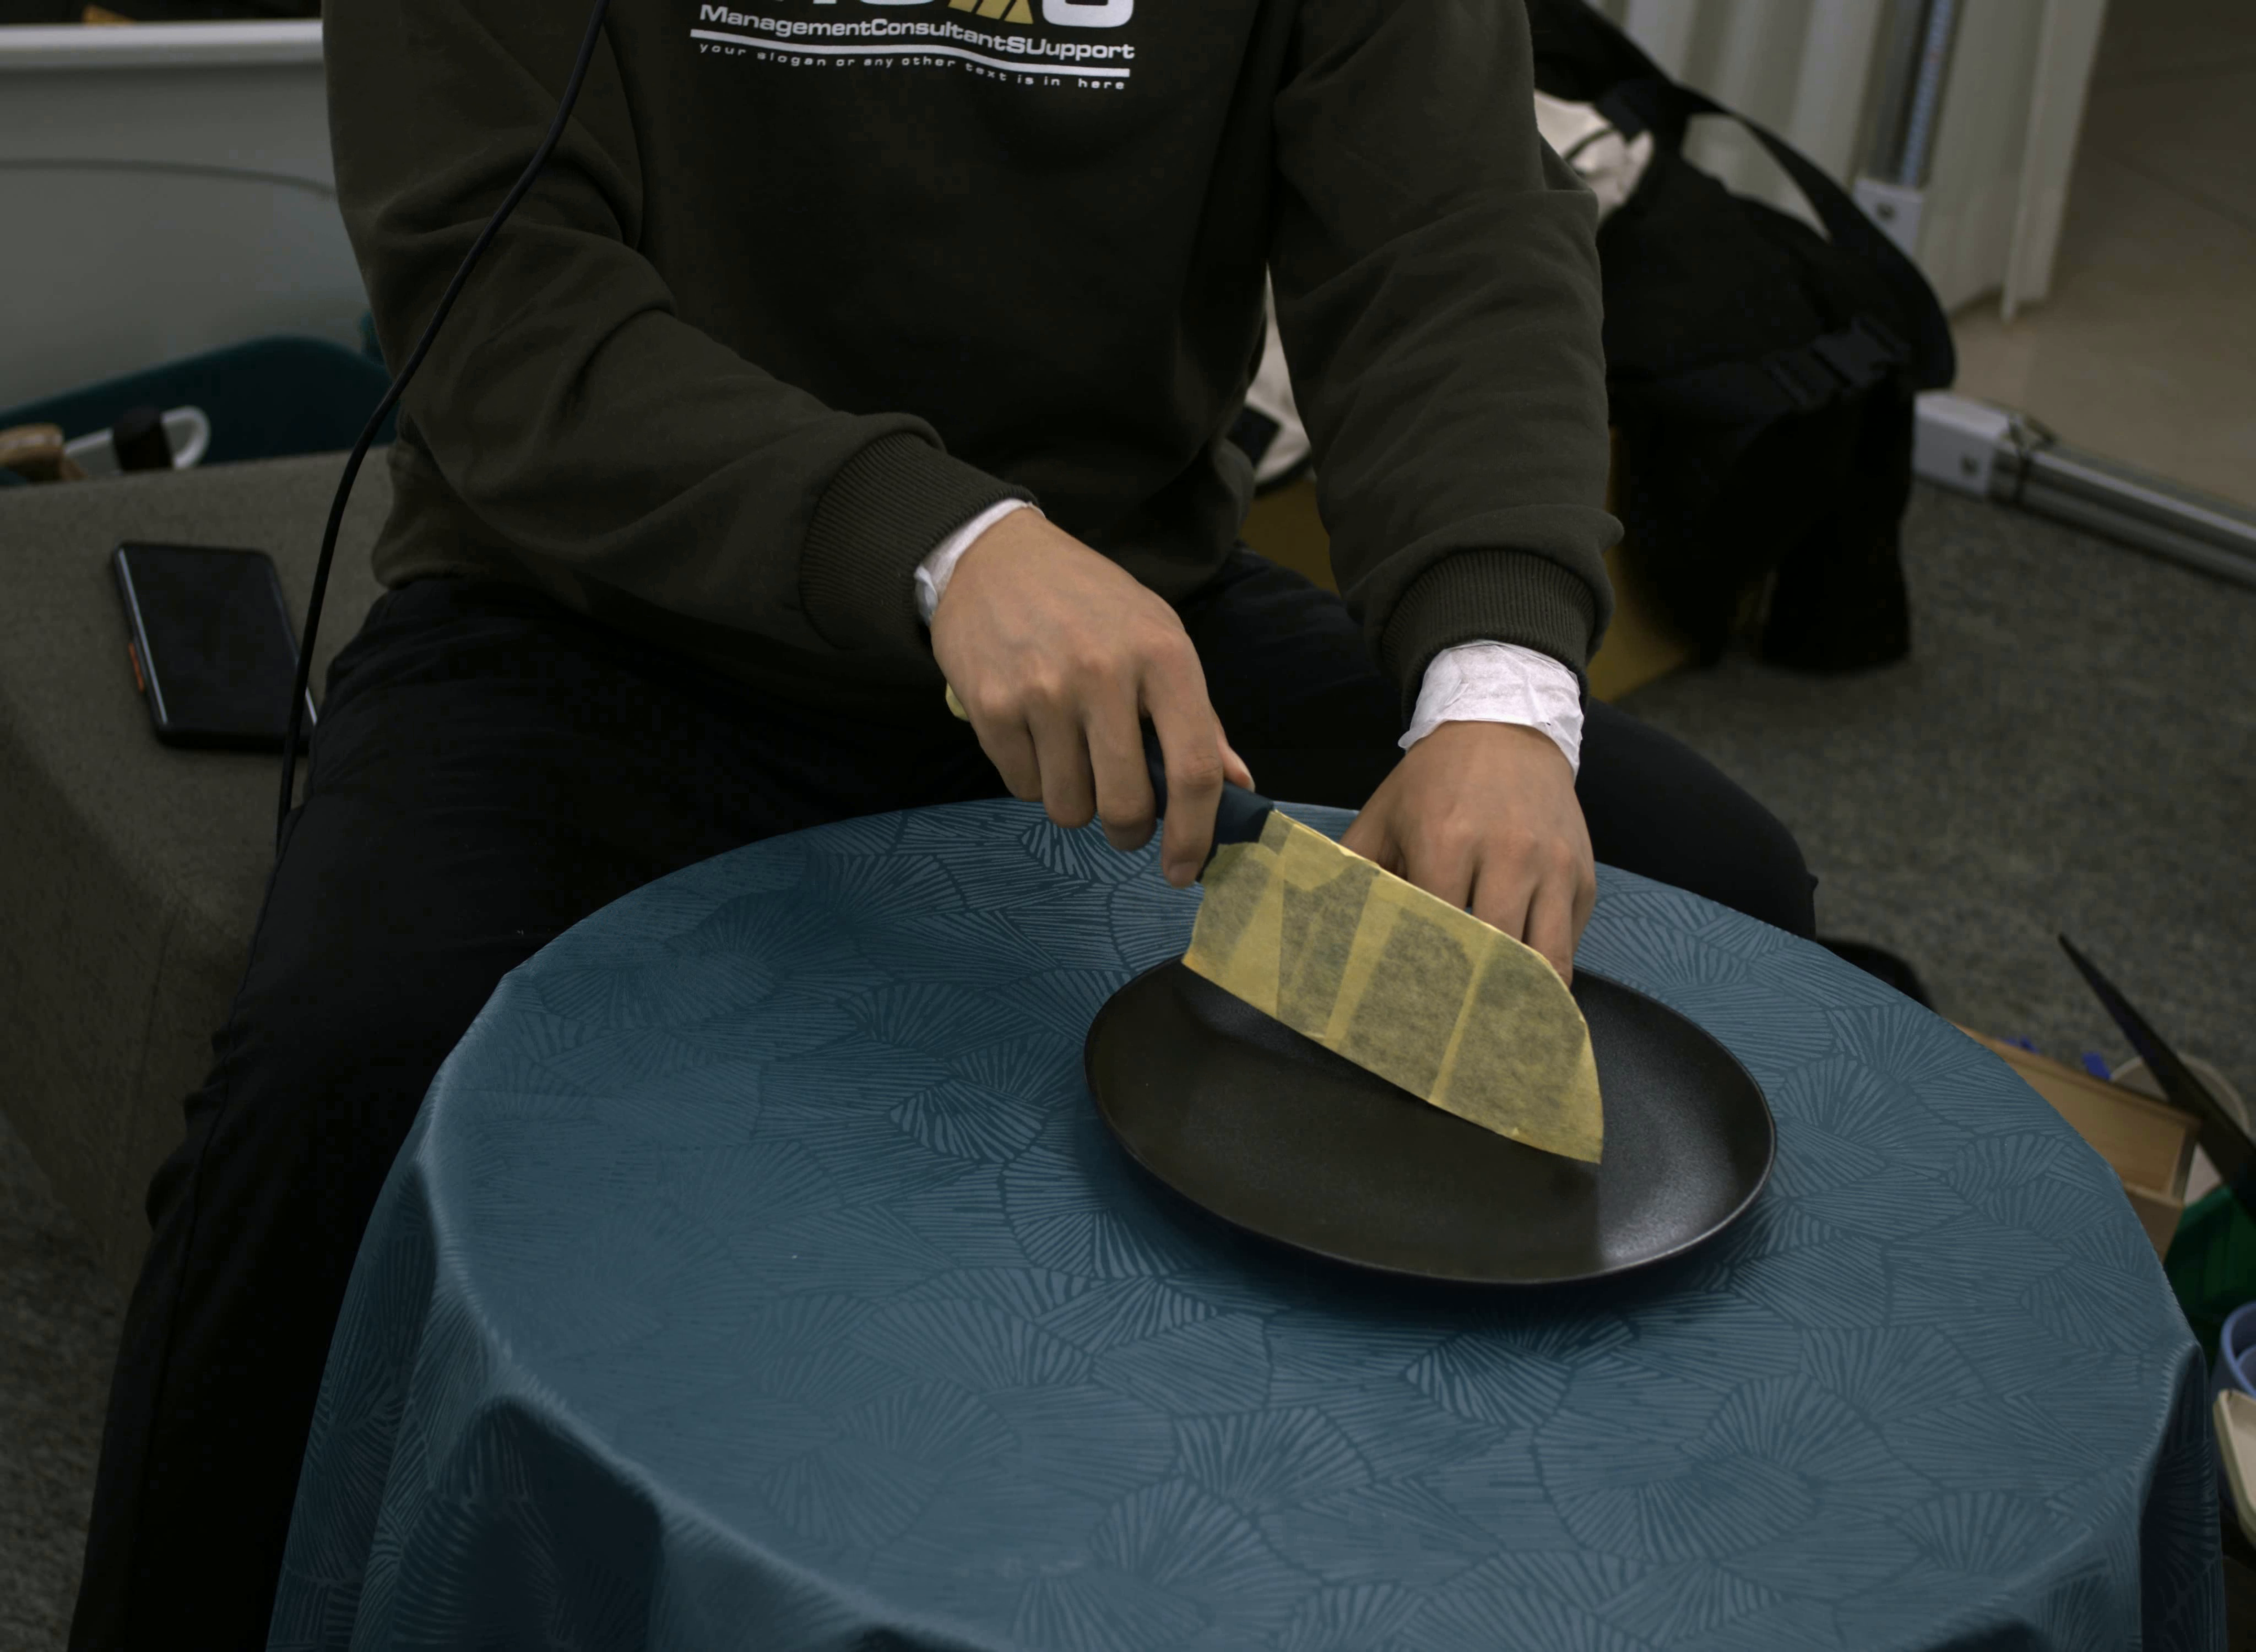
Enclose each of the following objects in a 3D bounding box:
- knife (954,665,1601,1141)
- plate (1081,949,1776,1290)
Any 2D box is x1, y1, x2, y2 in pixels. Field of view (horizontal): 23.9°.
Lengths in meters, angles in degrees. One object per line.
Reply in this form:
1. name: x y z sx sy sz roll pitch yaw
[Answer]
1. knife: 0.049 0.026 1.880 0.291 0.081 0.027 33 26 24
2. plate: 0.103 0.102 1.846 0.243 0.023 0.246 5 27 -3
